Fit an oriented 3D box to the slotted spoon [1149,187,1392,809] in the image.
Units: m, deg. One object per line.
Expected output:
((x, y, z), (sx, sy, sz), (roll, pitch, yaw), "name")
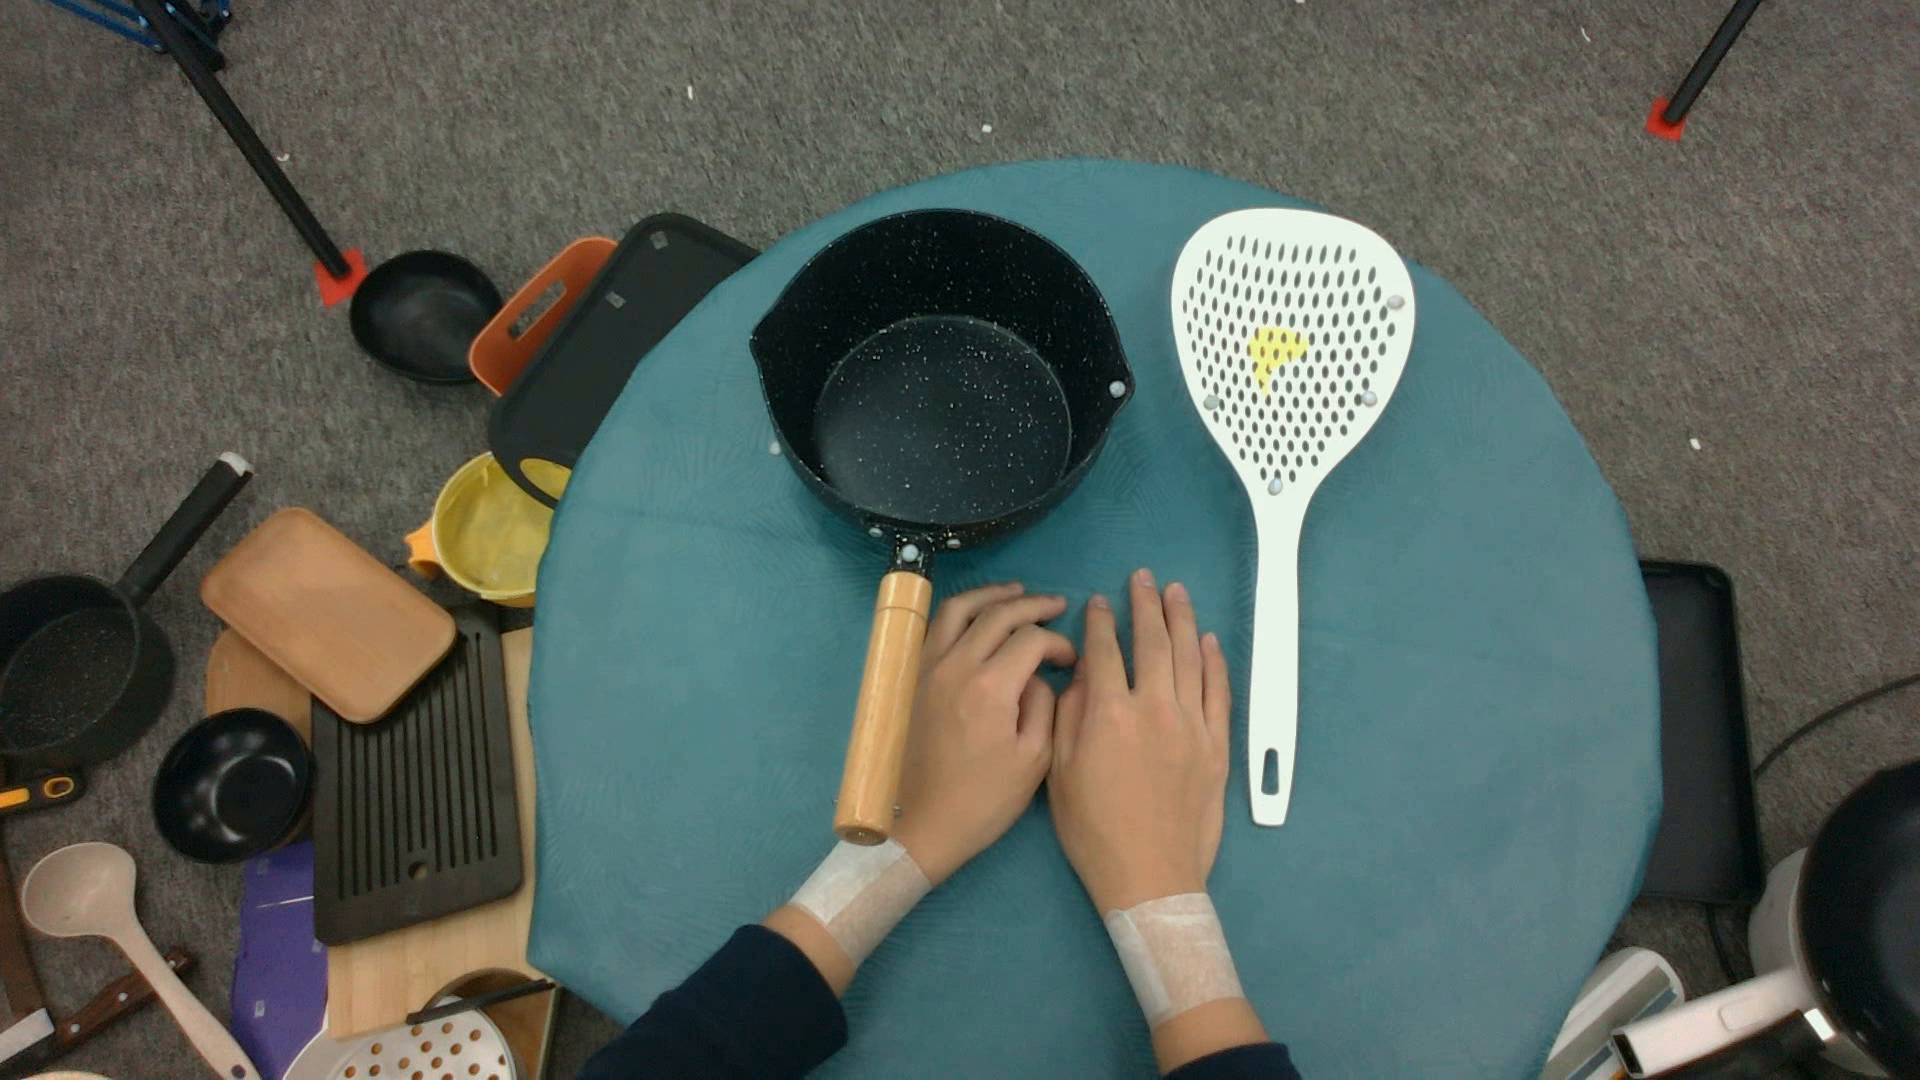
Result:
((0.164, -0.033, 0.742), (0.137, 0.050, 0.349), (5, 67, -1), "slotted spoon")

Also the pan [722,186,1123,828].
((-0.028, -0.018, 0.698), (0.207, 0.108, 0.344), (7, 68, 0), "pan")
